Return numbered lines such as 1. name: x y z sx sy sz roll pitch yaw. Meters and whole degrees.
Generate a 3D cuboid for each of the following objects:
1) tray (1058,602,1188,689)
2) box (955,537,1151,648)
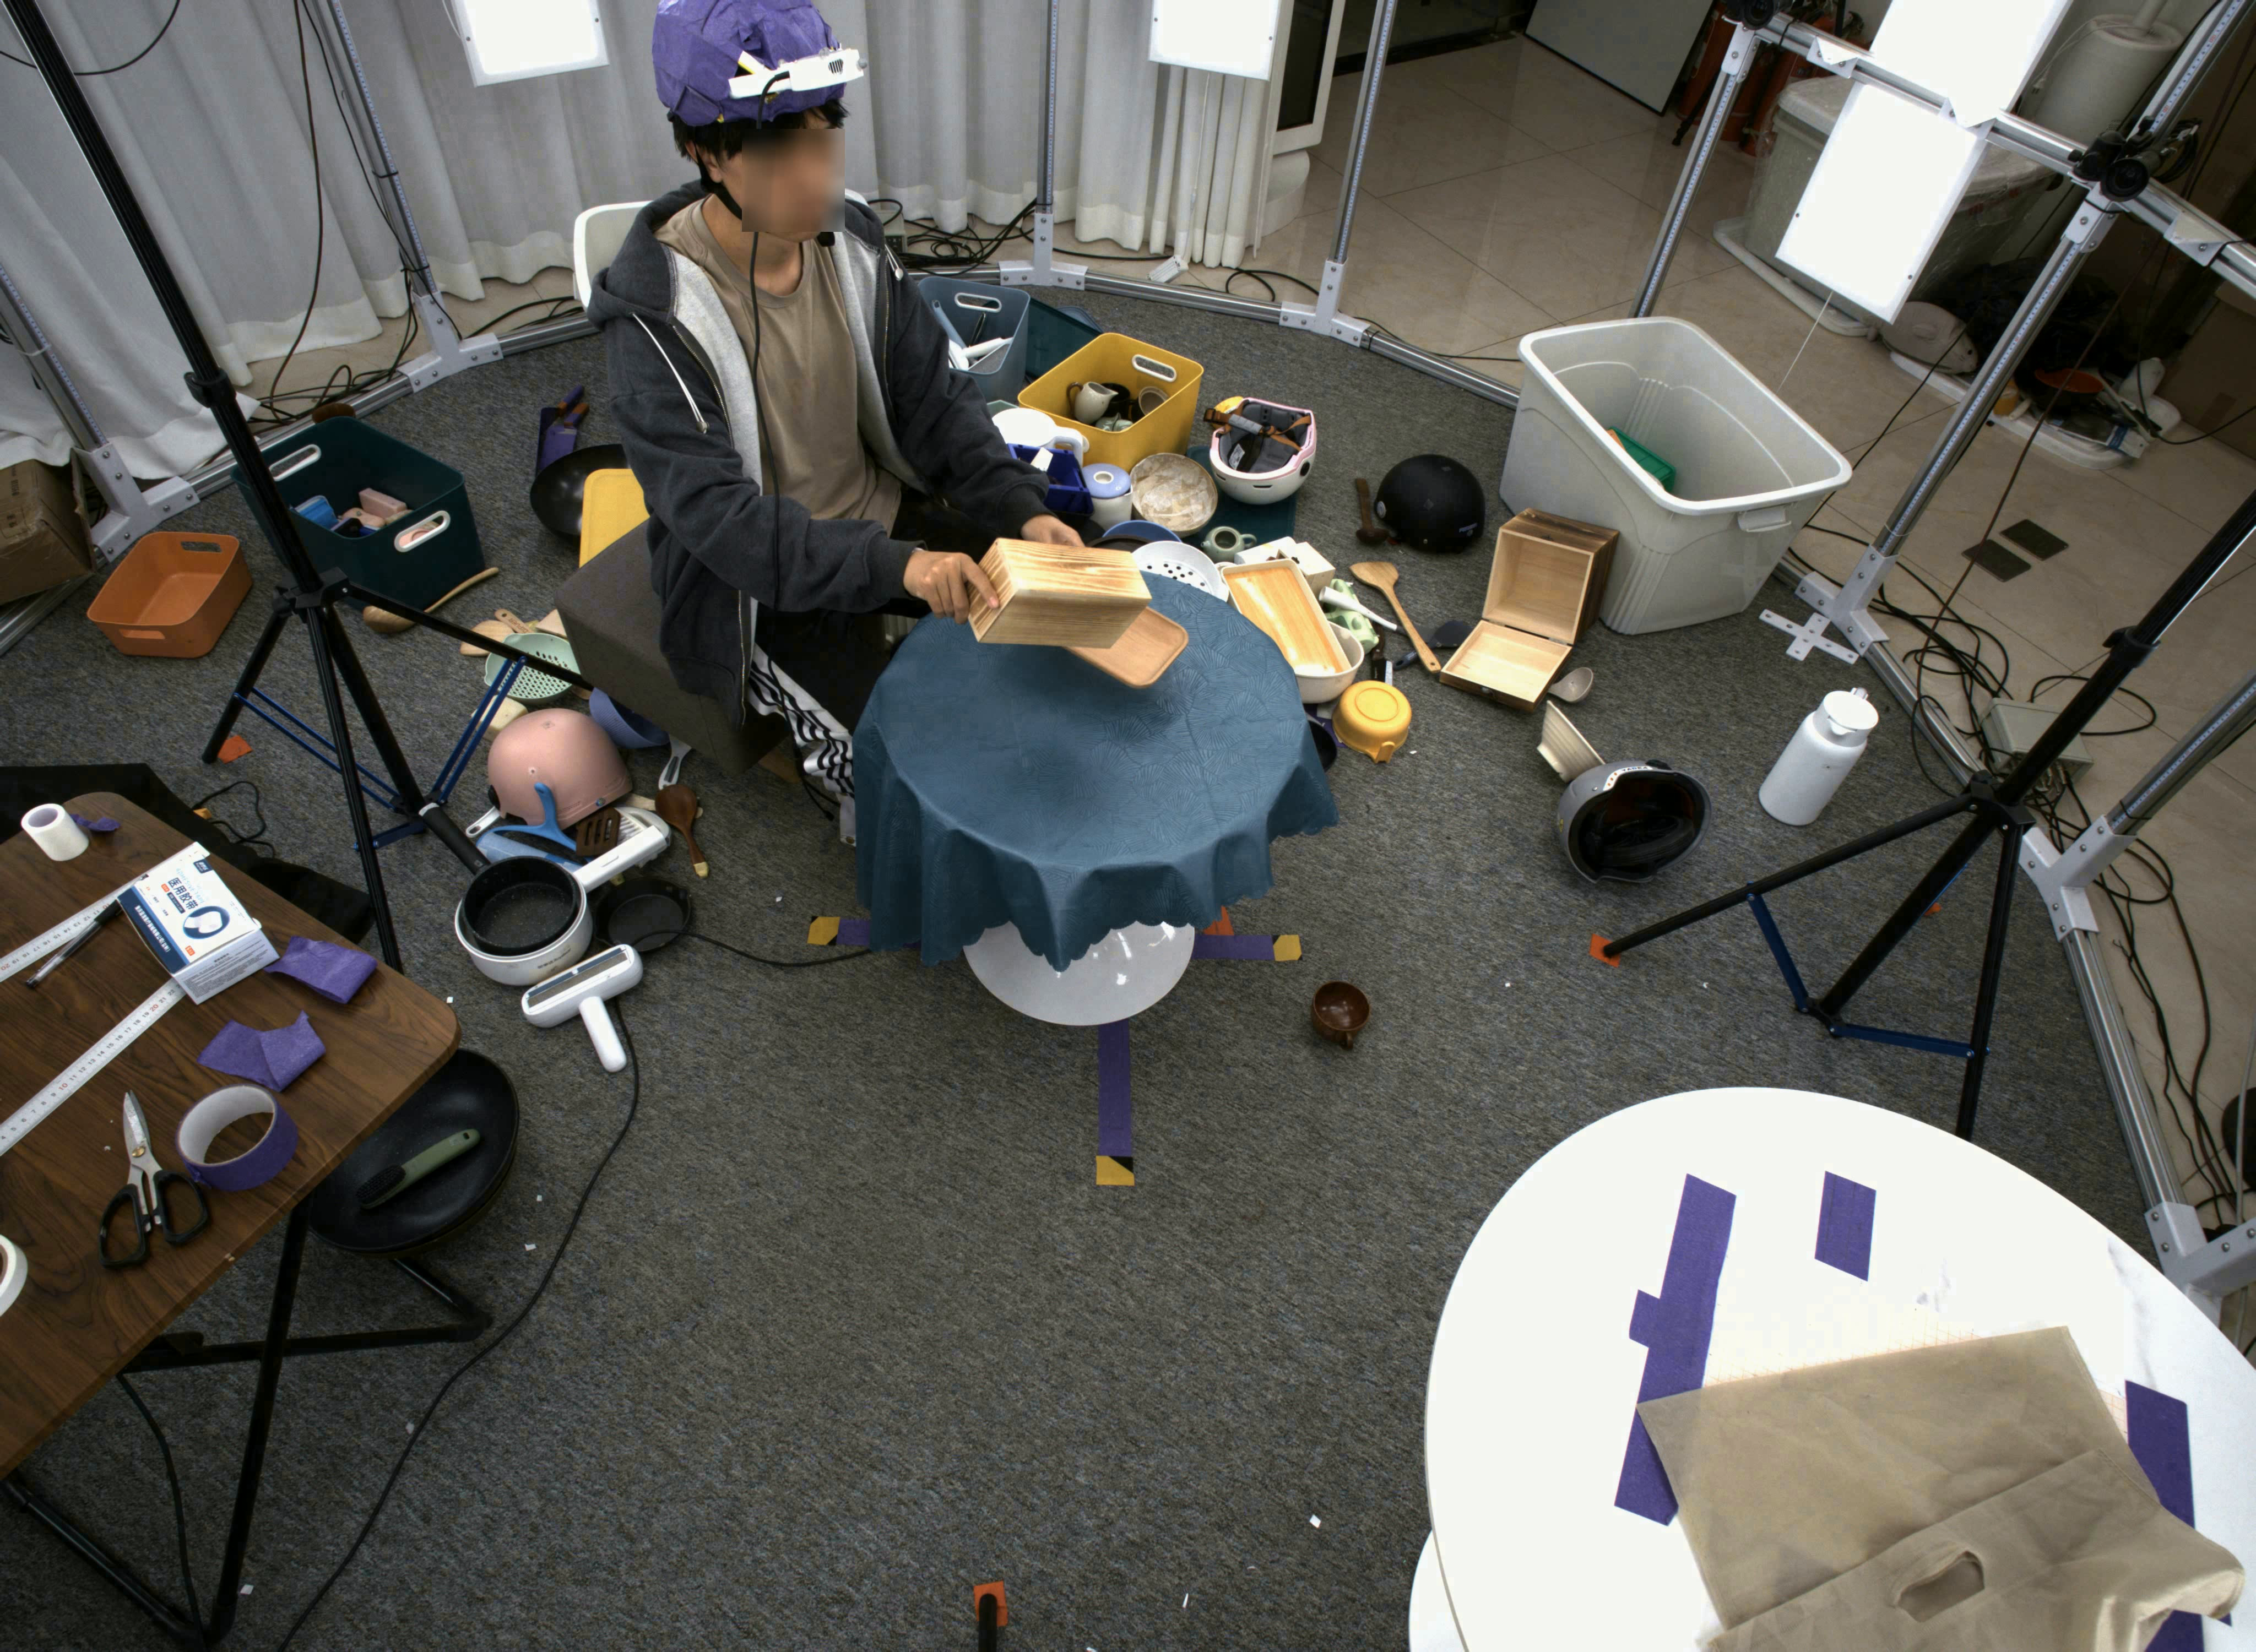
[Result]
1. tray: -0.043 -0.286 1.807 0.253 0.022 0.132 32 59 18
2. box: -0.092 -0.289 1.616 0.210 0.106 0.081 -4 61 -39
